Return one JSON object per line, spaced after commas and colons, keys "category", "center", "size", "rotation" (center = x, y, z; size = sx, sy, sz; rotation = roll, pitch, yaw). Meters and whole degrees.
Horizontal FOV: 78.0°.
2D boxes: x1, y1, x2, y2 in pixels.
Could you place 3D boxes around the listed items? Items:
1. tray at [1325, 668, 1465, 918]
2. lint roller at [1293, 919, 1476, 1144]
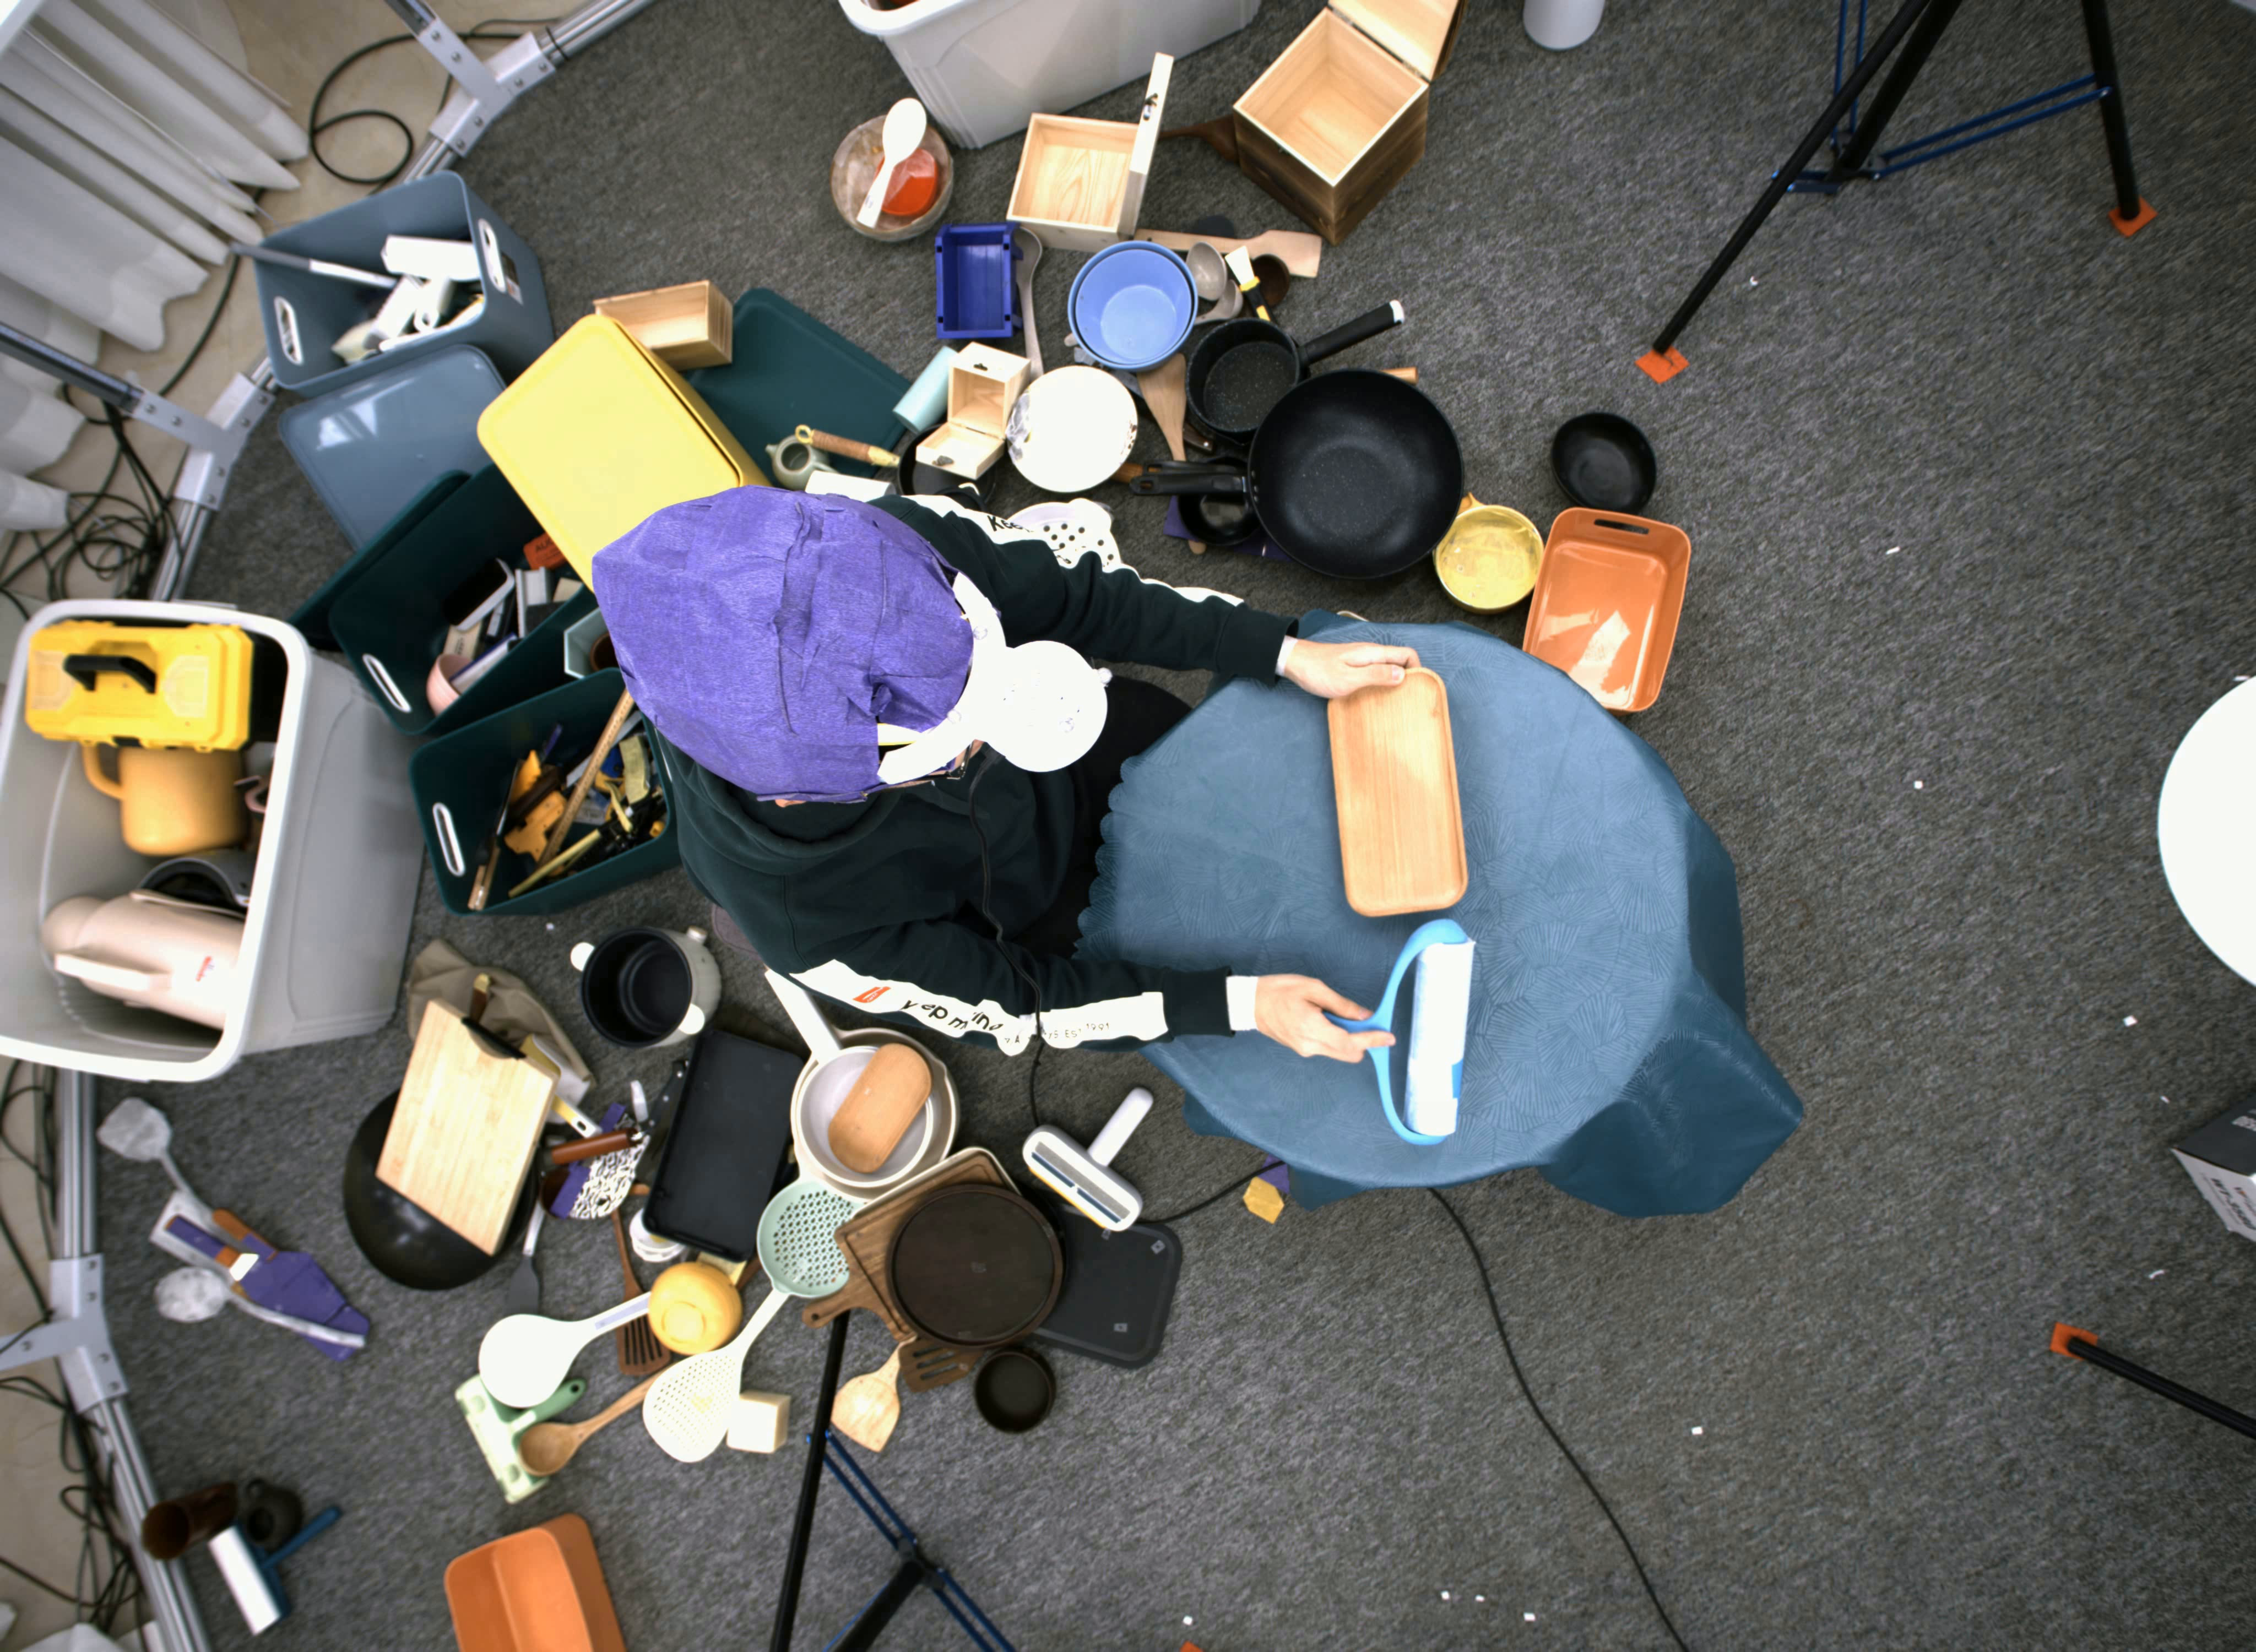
{"category": "tray", "center": [0.272, -0.035, 1.404], "size": [0.132, 0.023, 0.249], "rotation": [-7, 83, 29]}
{"category": "lint roller", "center": [0.249, 0.200, 1.370], "size": [0.181, 0.067, 0.231], "rotation": [2, 104, 15]}
